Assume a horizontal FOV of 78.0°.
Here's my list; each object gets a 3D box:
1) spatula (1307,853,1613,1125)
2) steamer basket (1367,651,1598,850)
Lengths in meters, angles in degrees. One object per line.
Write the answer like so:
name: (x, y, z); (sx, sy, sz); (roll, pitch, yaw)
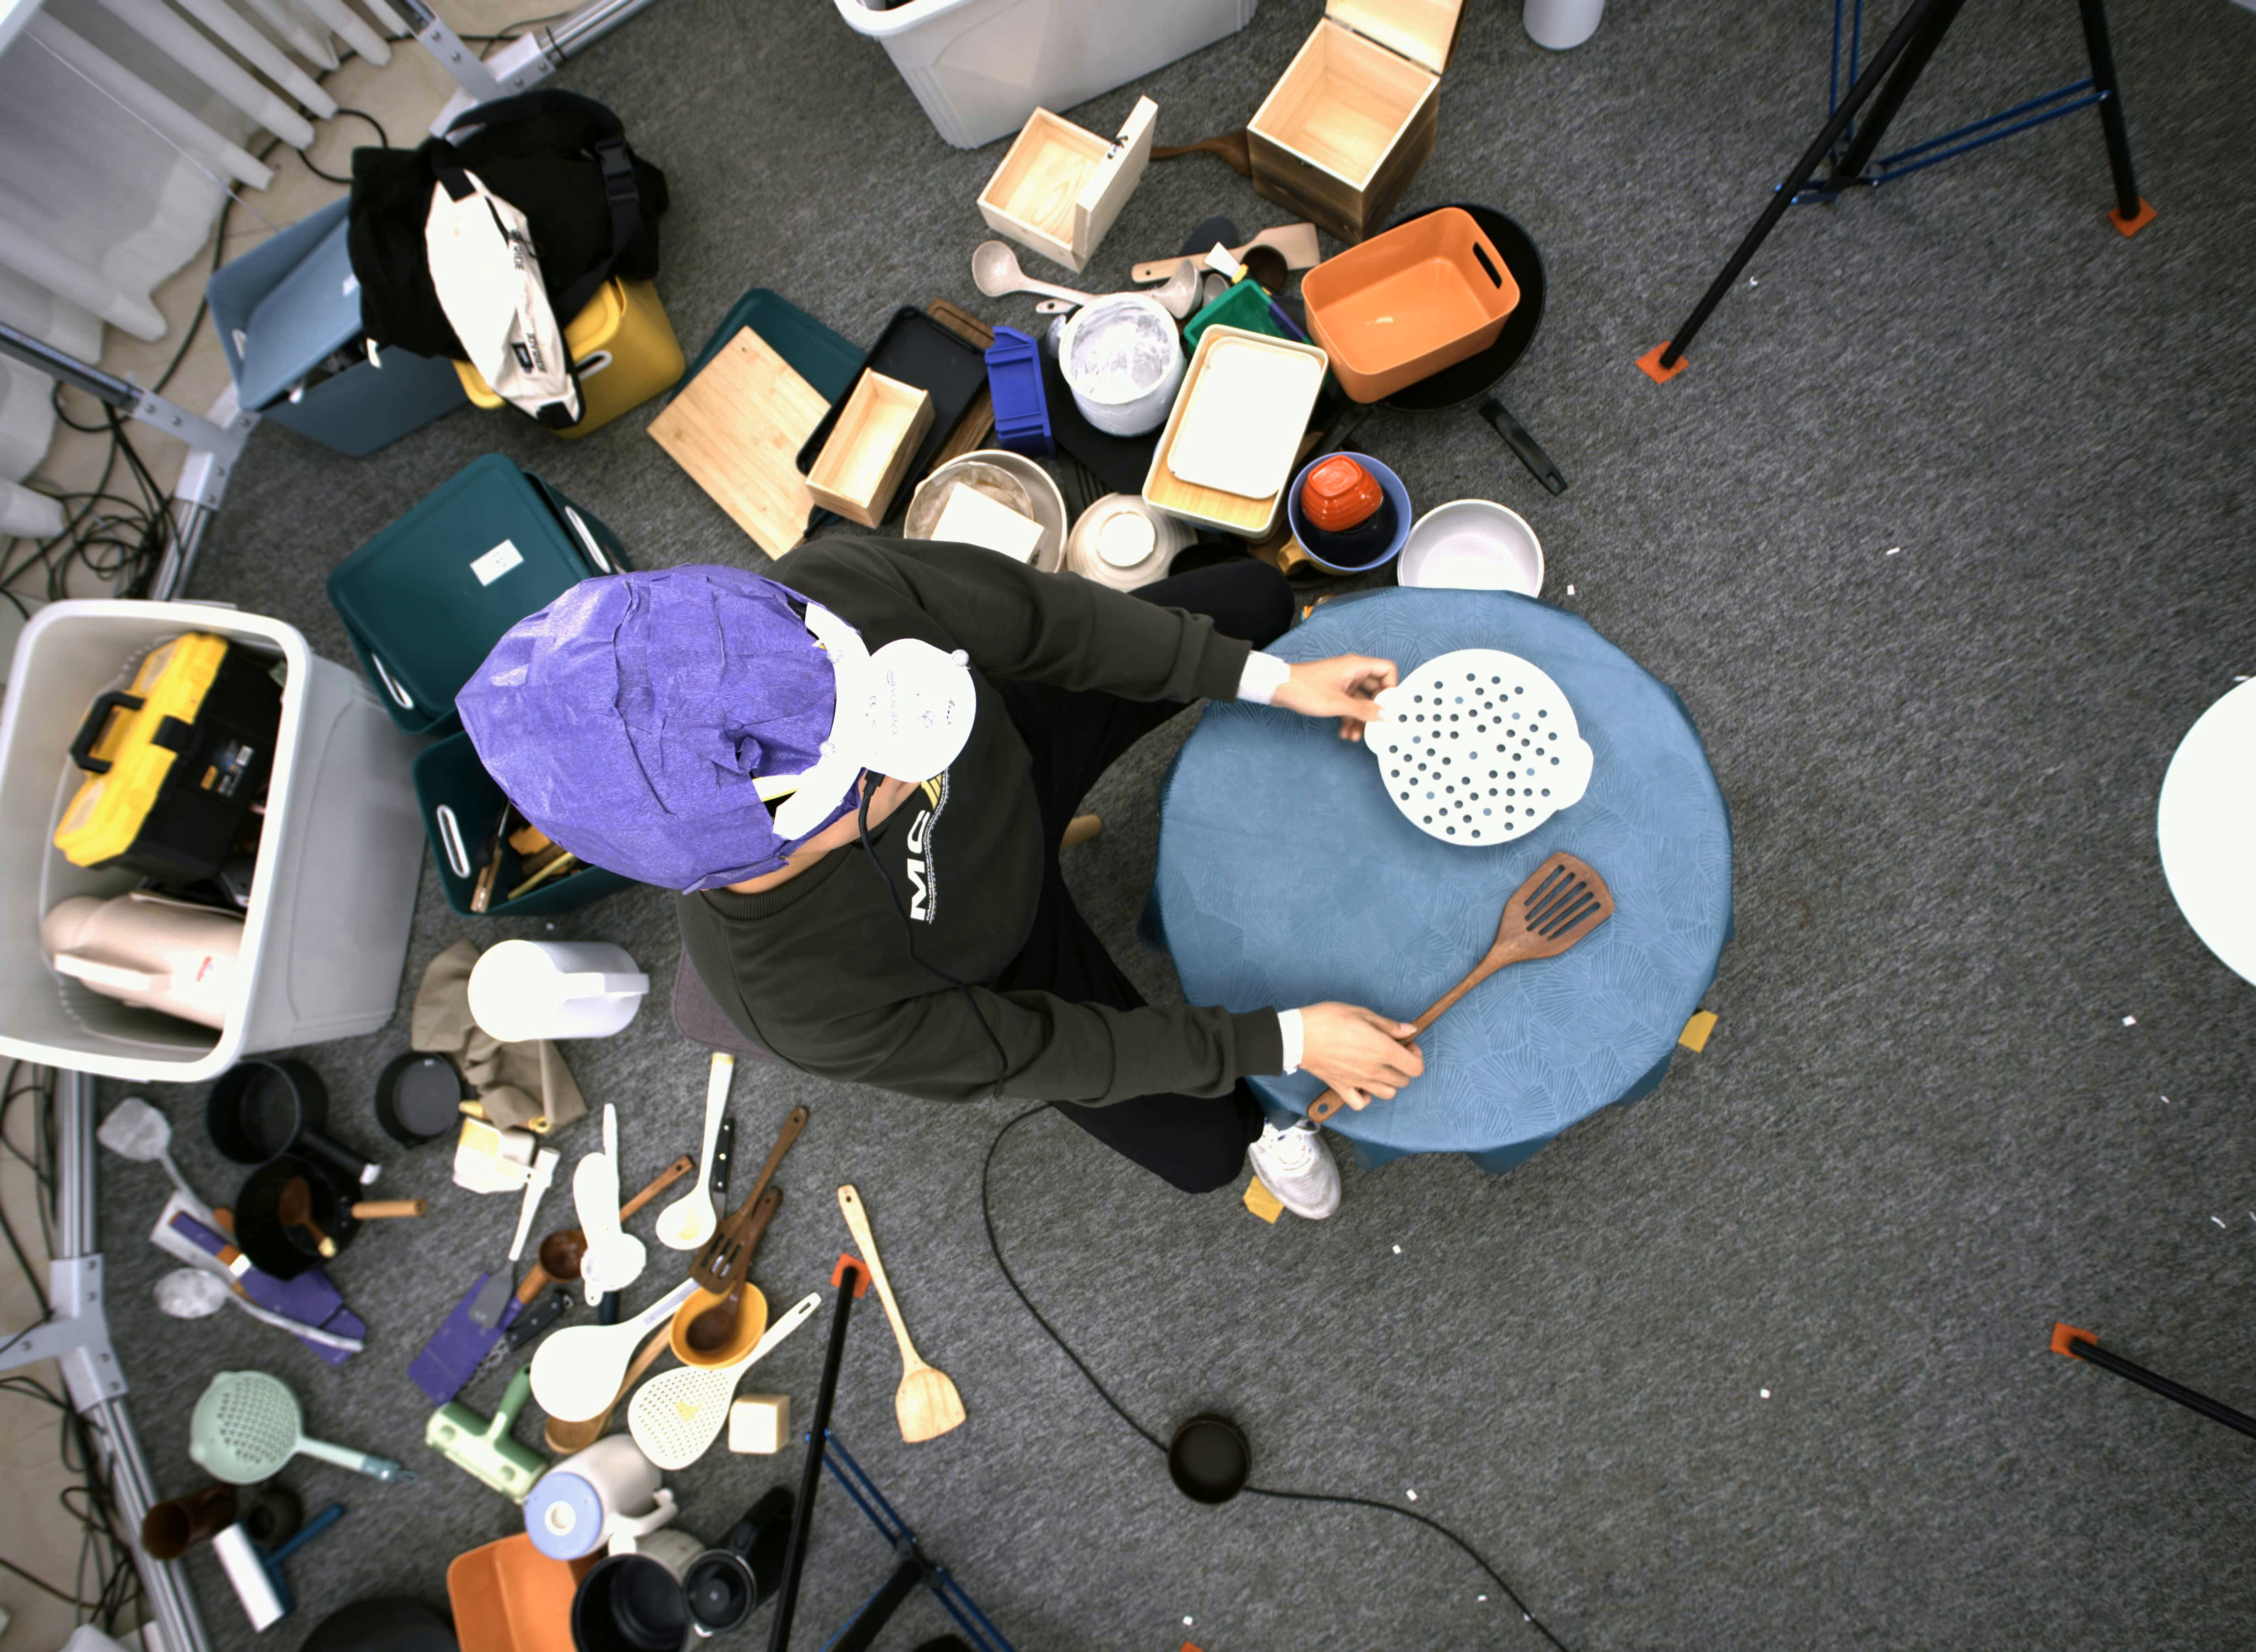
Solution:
spatula: (0.334, 0.176, 1.421); (0.385, 0.024, 0.085); (-41, 77, 1)
steamer basket: (0.364, -0.077, 1.419); (0.231, 0.069, 0.201); (17, 87, 14)
